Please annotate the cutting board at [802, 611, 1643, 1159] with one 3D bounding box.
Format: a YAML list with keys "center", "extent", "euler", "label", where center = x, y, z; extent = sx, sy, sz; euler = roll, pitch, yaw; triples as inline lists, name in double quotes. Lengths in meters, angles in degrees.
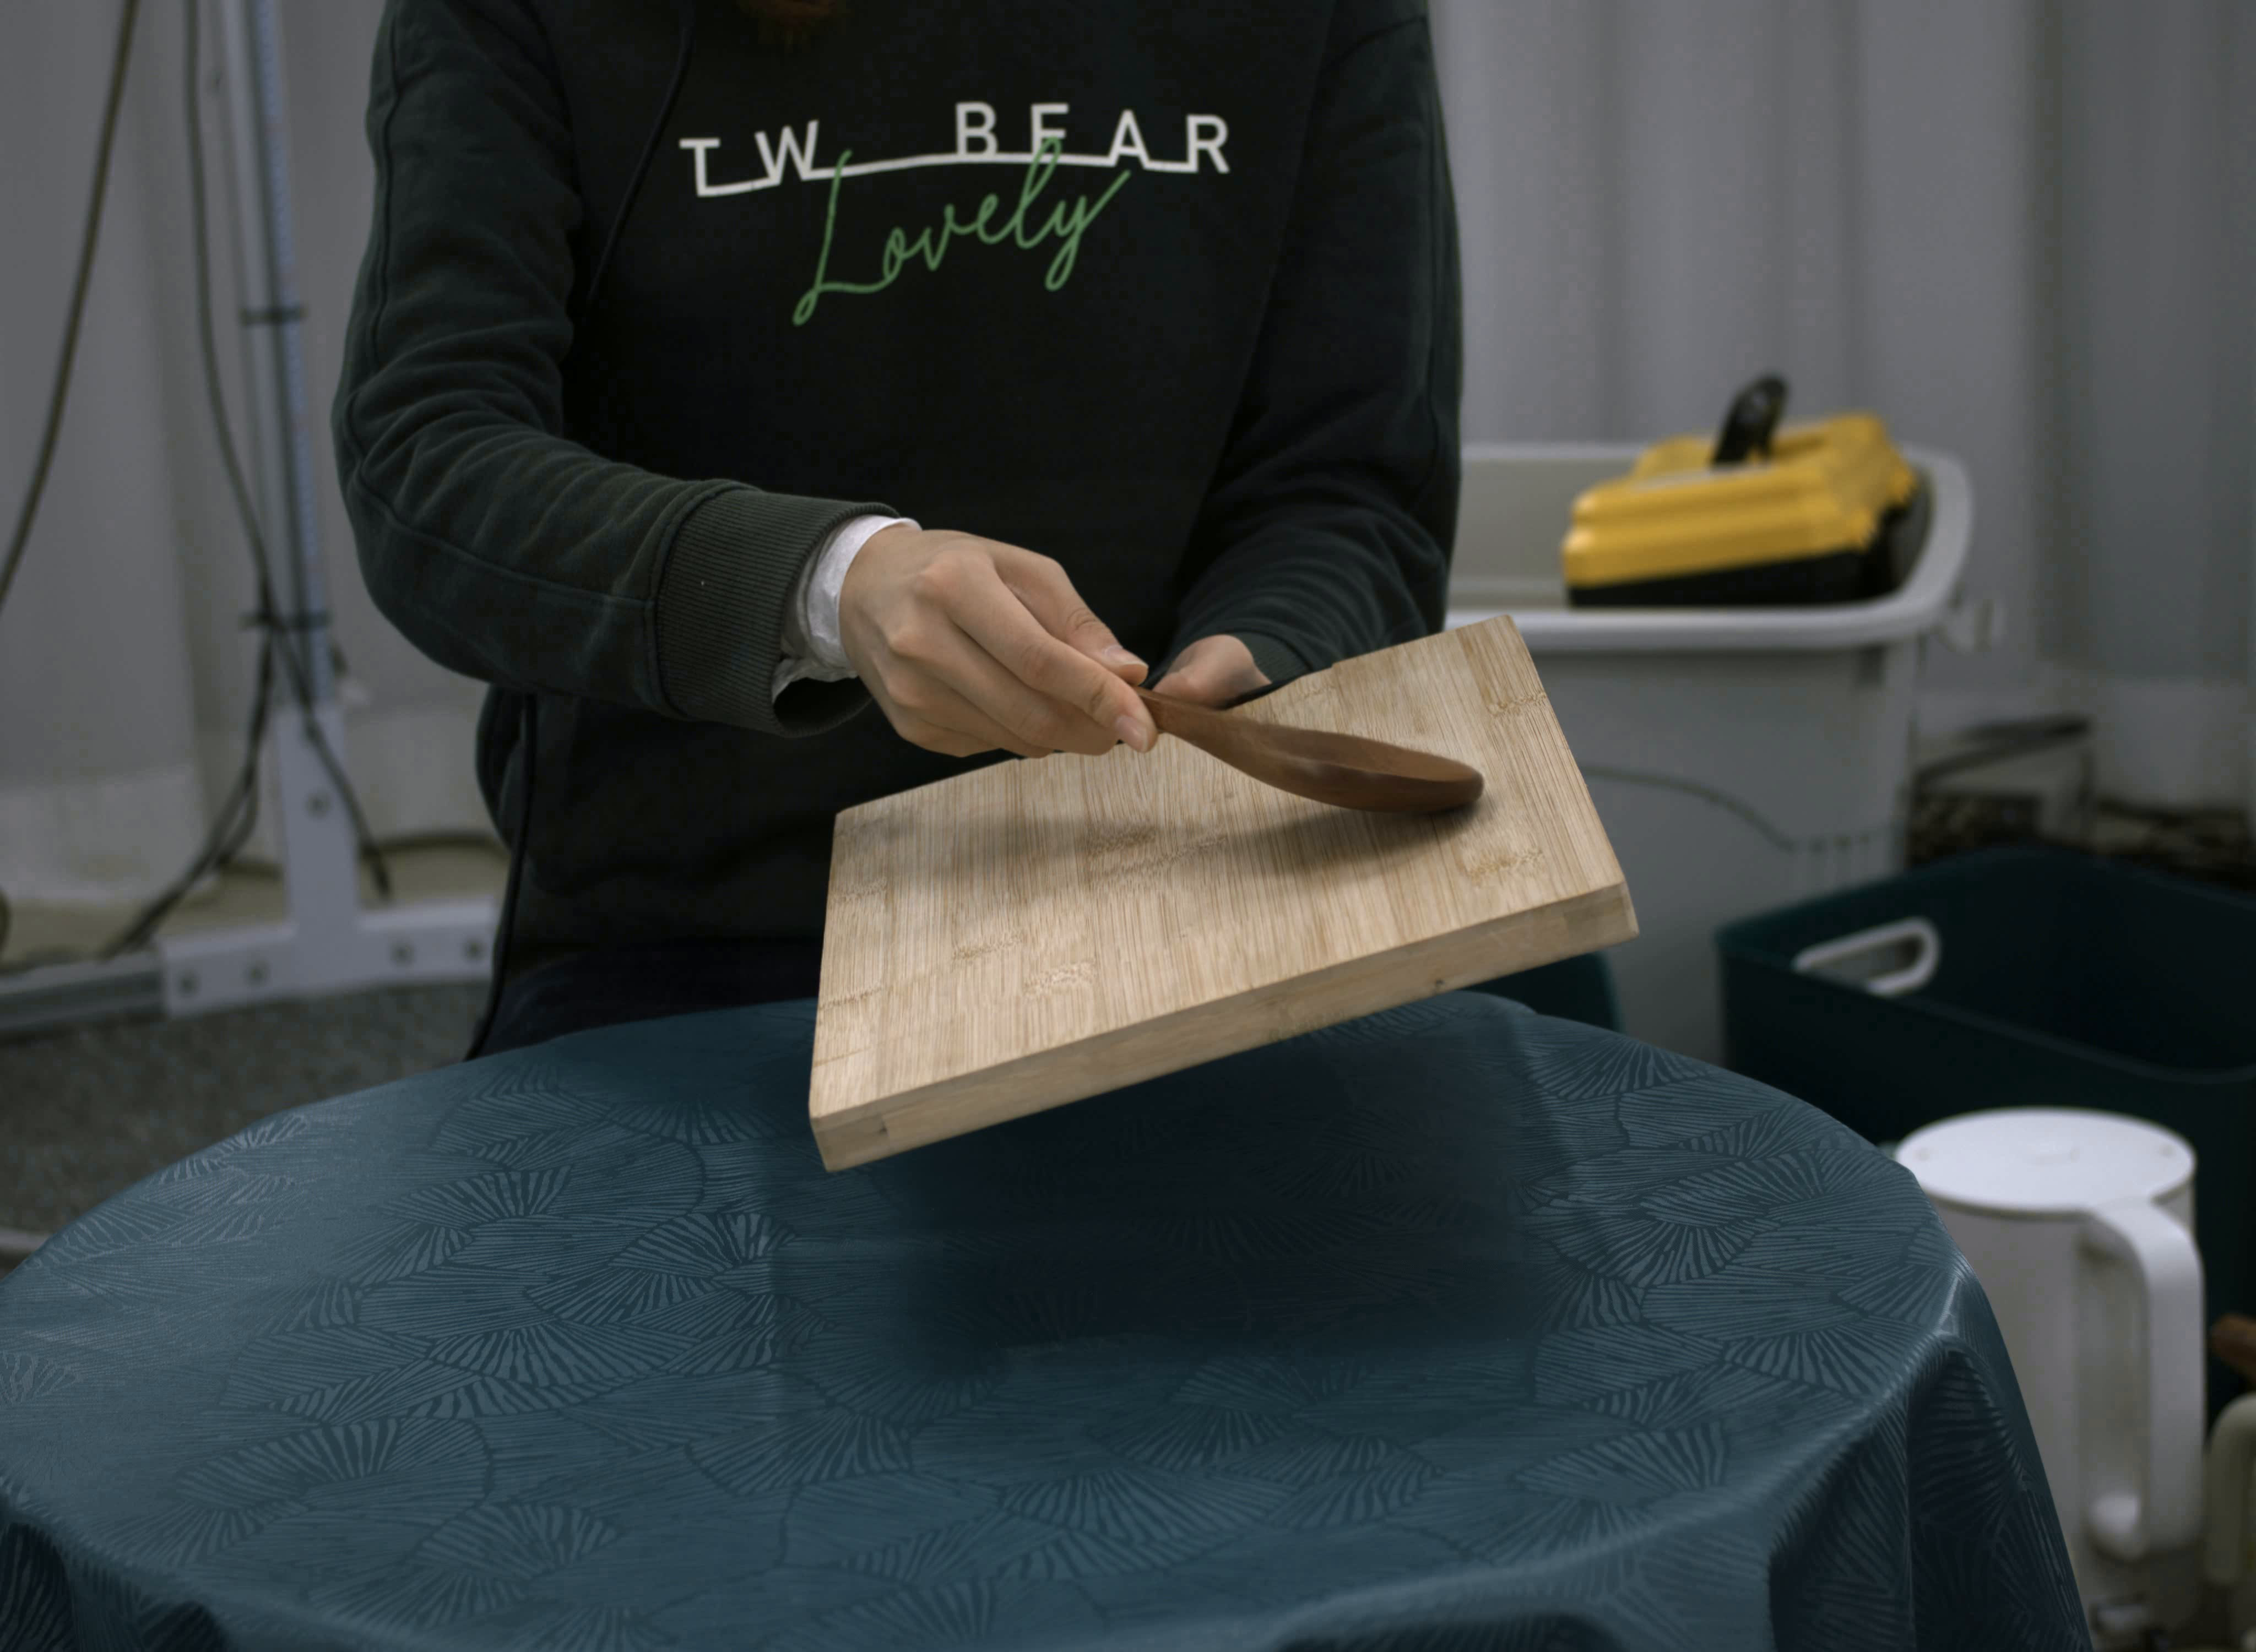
- center: [0.023, 0.012, 1.701]
  extent: [0.250, 0.023, 0.351]
  euler: [-16, 15, 2]
  label: "cutting board"

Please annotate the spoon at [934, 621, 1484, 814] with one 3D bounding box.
- center: [0.019, -0.032, 1.685]
  extent: [0.217, 0.017, 0.075]
  euler: [19, 14, 42]
  label: "spoon"
